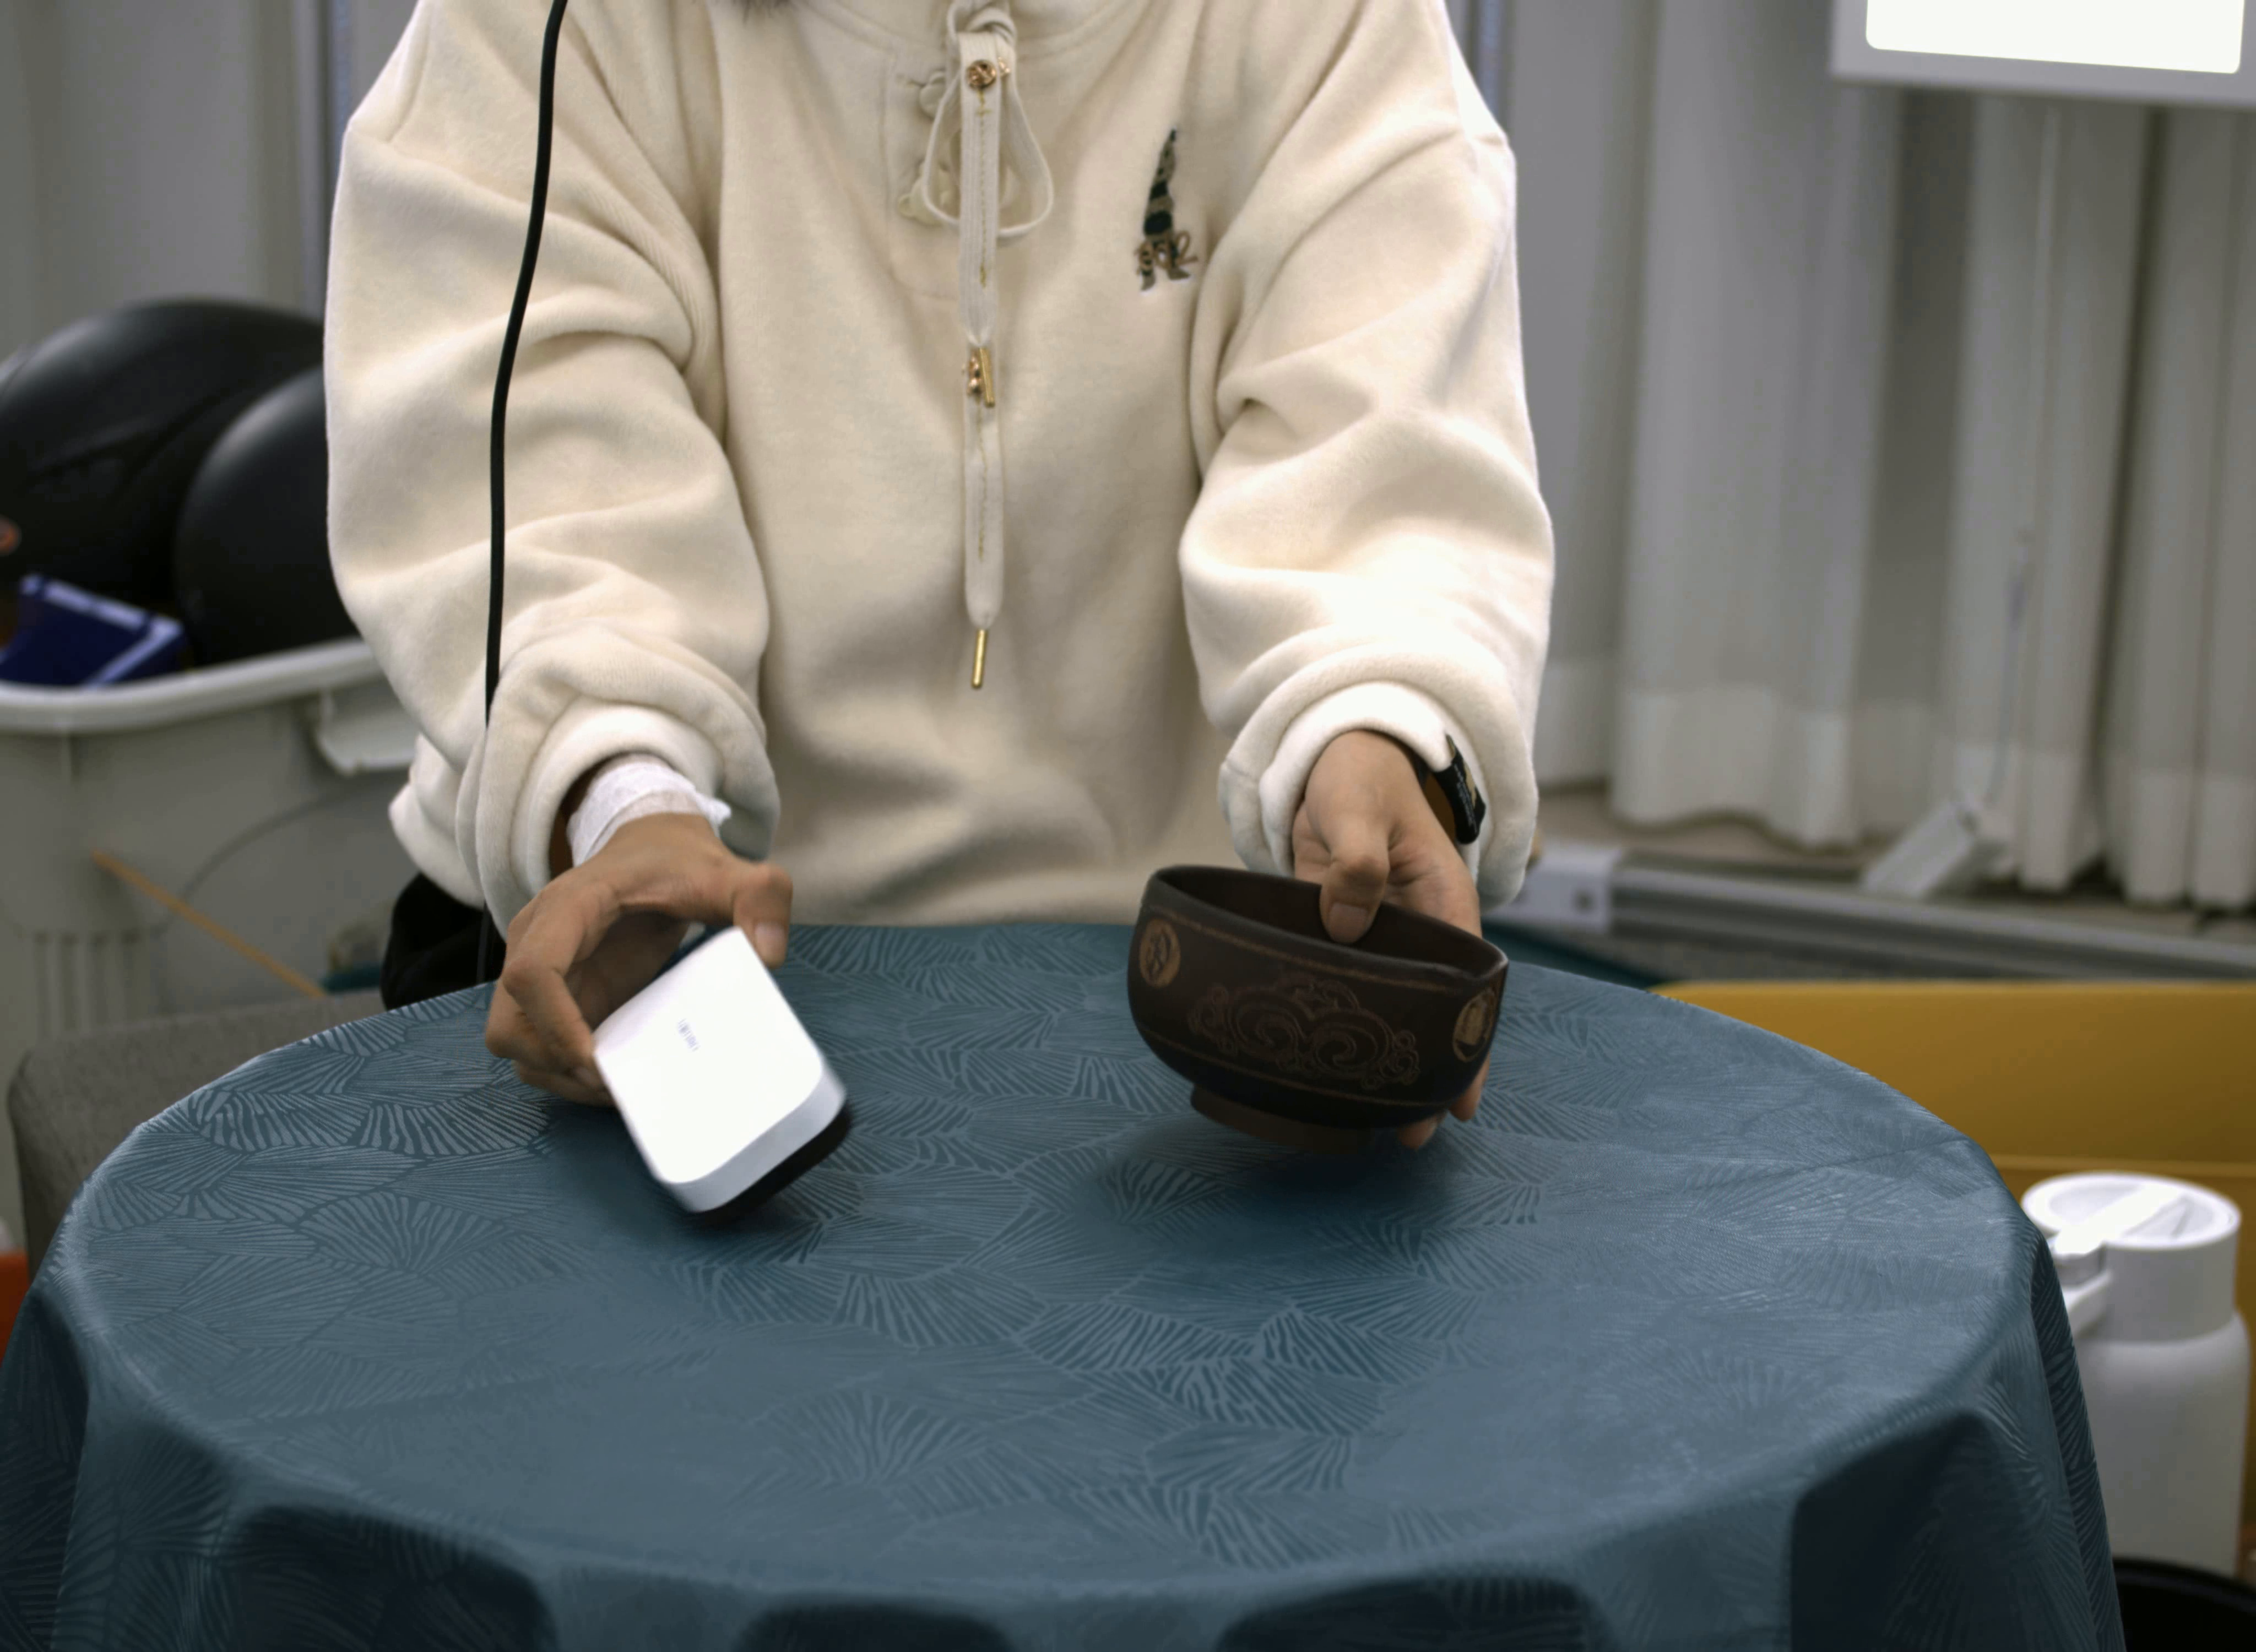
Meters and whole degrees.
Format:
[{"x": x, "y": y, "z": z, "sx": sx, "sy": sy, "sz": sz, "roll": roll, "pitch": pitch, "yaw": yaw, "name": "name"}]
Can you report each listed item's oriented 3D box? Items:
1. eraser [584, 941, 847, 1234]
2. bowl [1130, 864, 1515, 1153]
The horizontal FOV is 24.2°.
[{"x": -0.127, "y": 0.077, "z": 1.625, "sx": 0.063, "sy": 0.035, "sz": 0.130, "roll": -34, "pitch": 27, "yaw": -2, "name": "eraser"}, {"x": 0.056, "y": 0.060, "z": 1.633, "sx": 0.118, "sy": 0.070, "sz": 0.118, "roll": 15, "pitch": 7, "yaw": -1, "name": "bowl"}]
